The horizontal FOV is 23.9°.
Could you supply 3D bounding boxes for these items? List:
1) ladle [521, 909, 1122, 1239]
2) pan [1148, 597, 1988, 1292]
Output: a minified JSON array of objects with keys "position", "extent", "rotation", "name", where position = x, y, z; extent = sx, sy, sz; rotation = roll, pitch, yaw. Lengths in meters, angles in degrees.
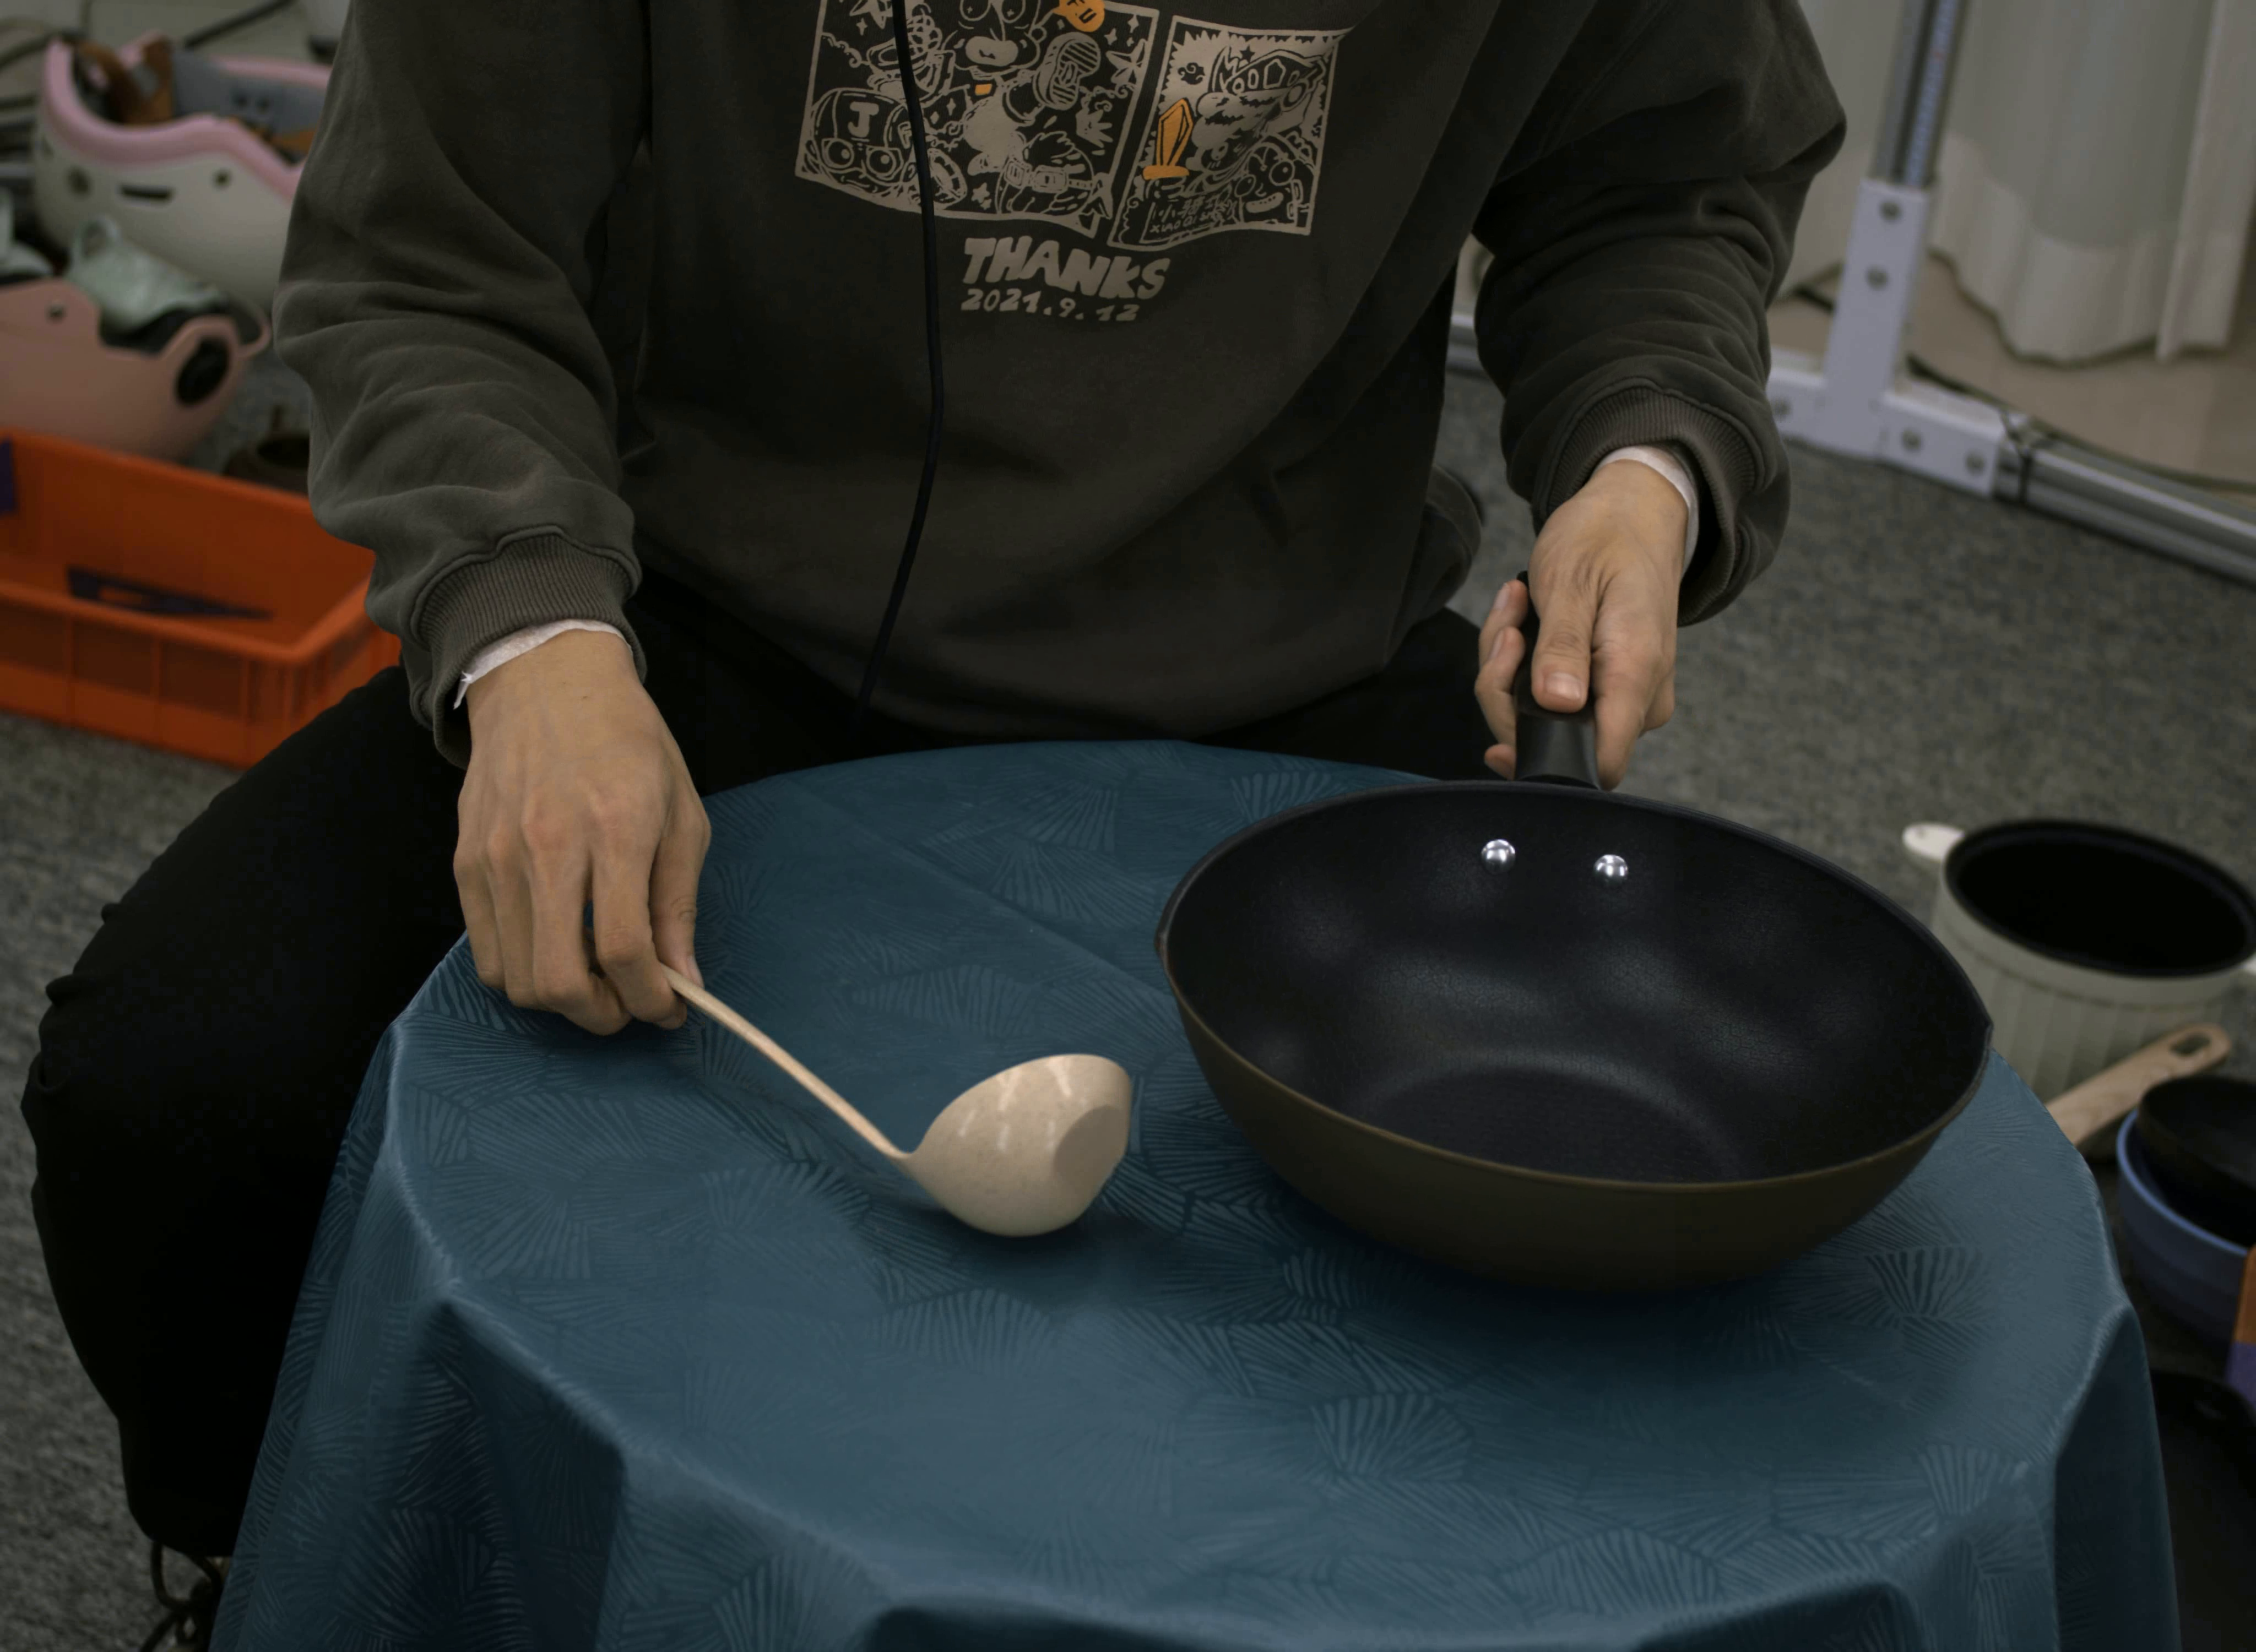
[{"position":[-0.105,0.058,1.813],"extent":[0.256,0.073,0.071],"rotation":[33,1,34],"name":"ladle"},{"position":[0.150,0.043,1.904],"extent":[0.287,0.086,0.466],"rotation":[6,26,0],"name":"pan"}]
